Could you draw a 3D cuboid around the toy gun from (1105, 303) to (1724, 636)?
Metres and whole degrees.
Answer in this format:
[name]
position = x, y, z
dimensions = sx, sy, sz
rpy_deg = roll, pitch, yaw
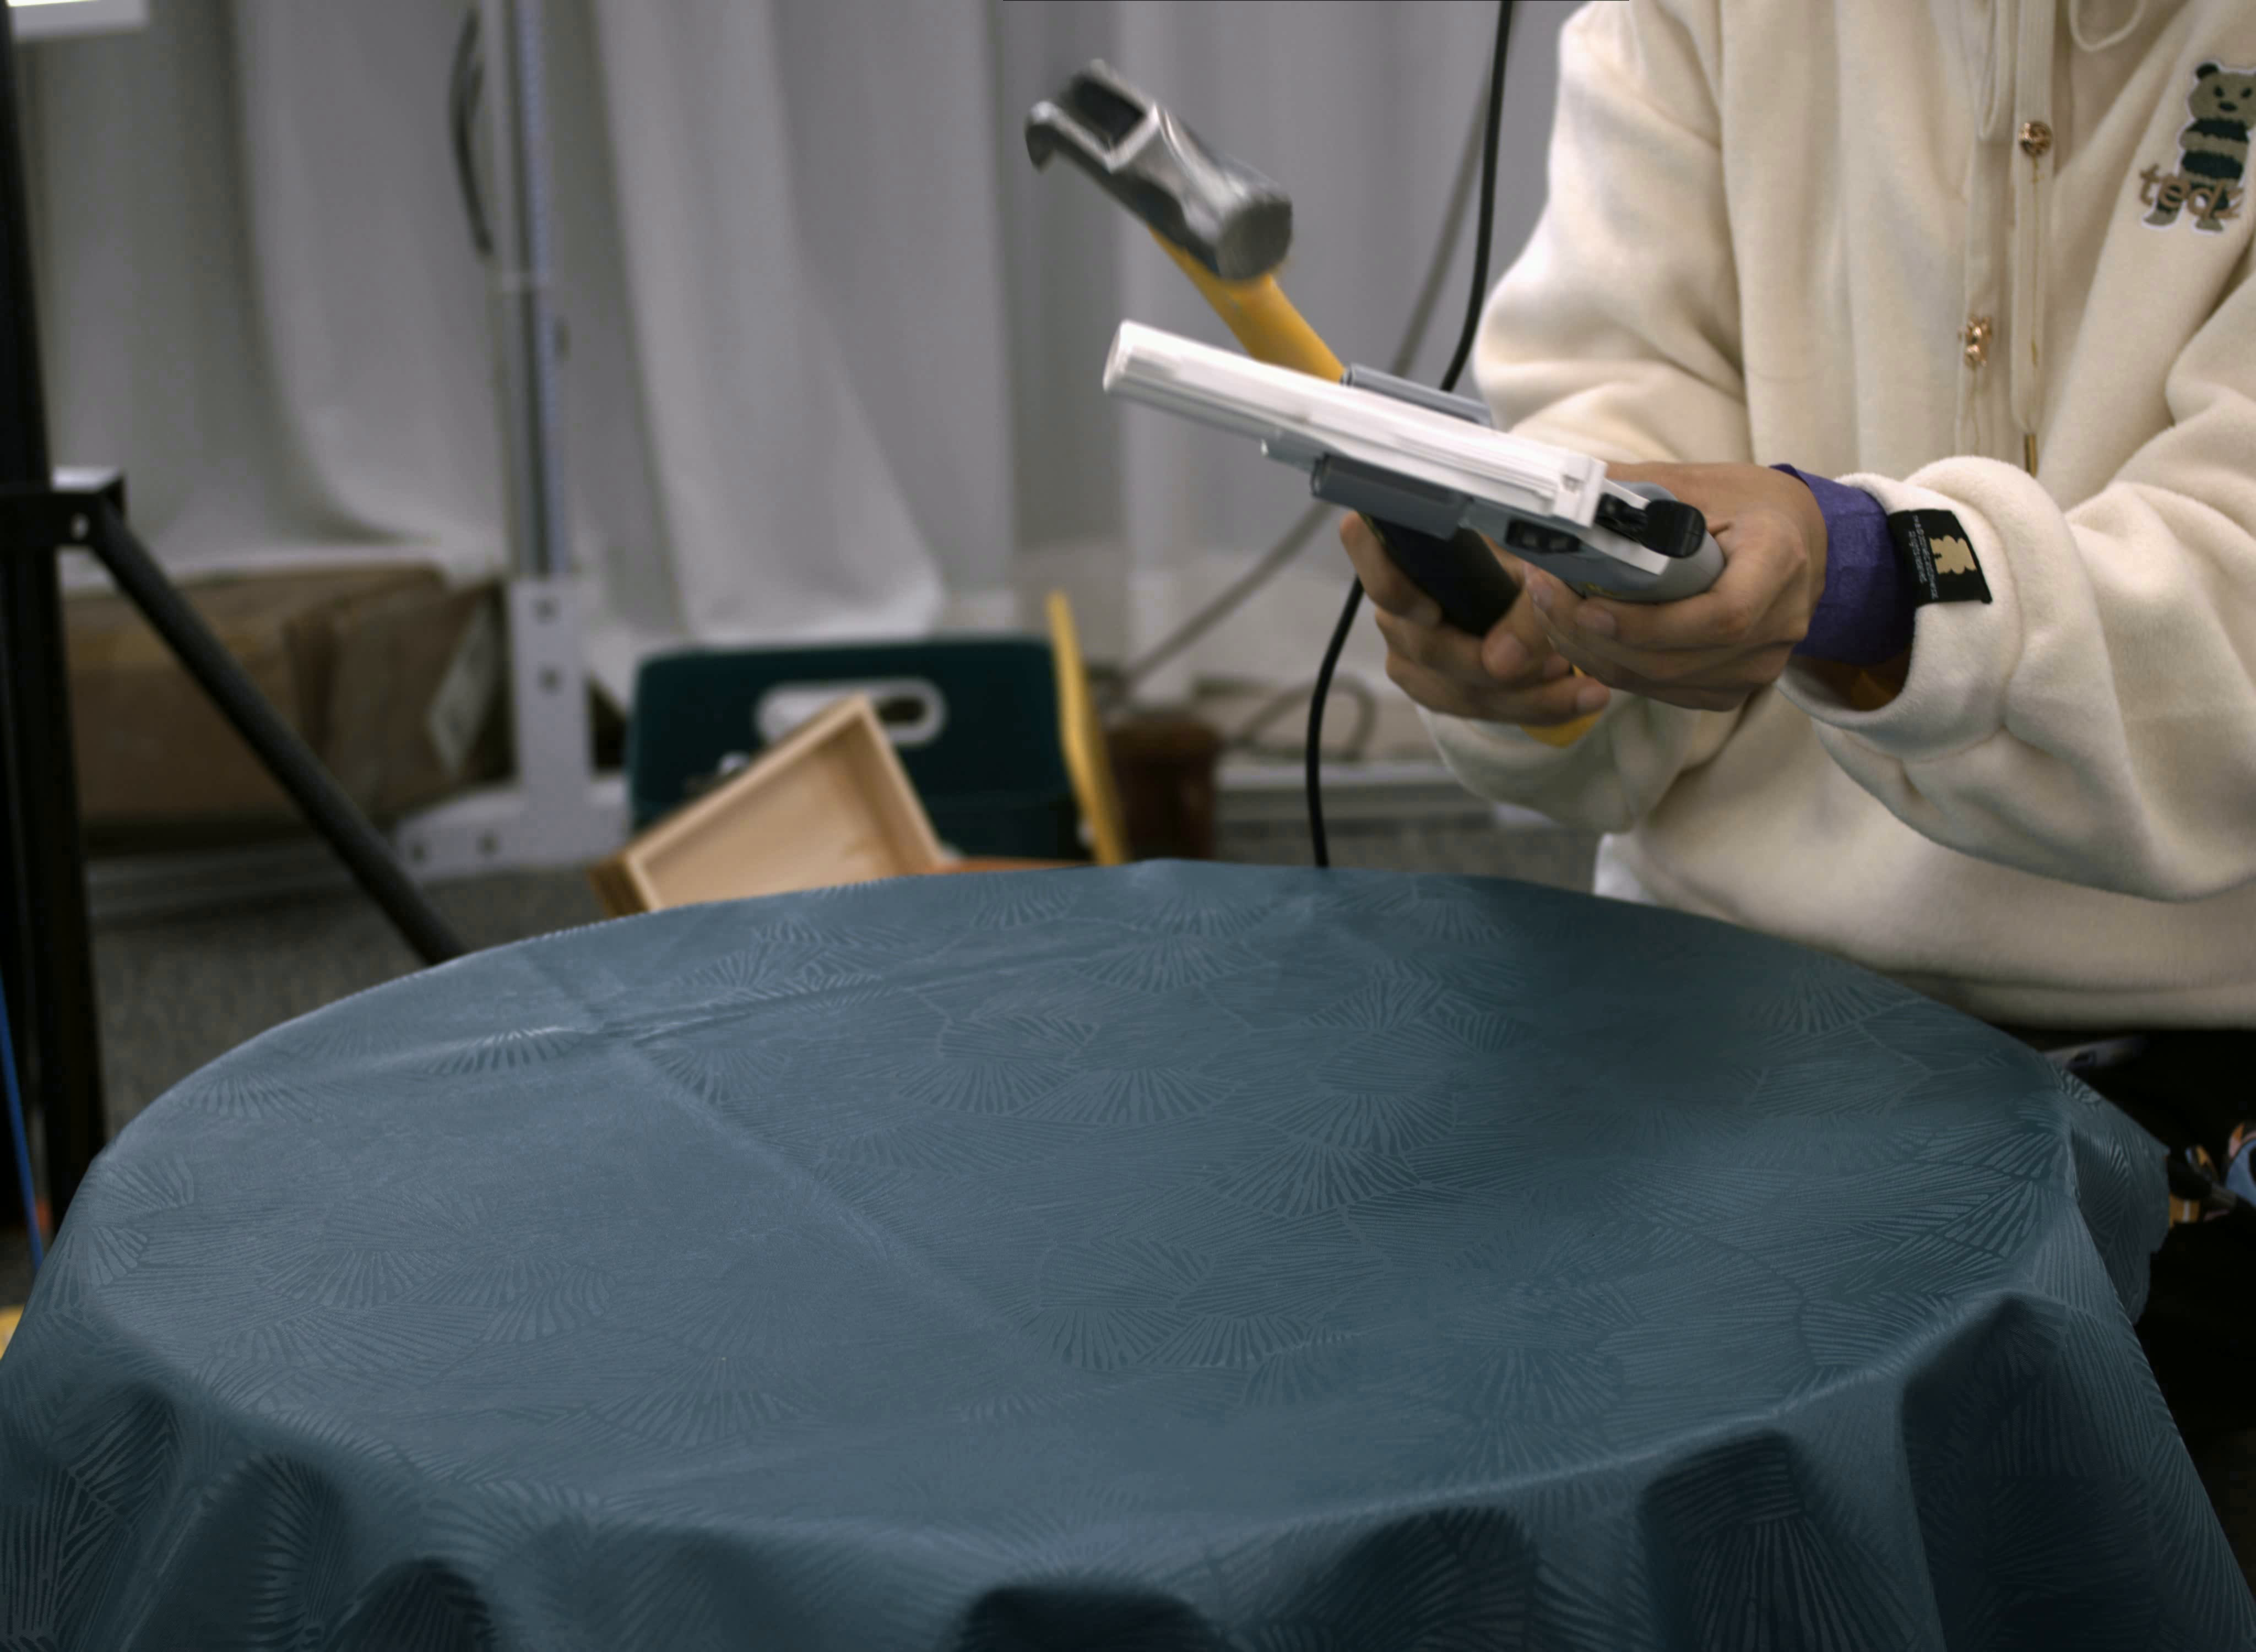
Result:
[toy gun]
position = 0.086, -0.099, 1.483
dimensions = 0.207, 0.039, 0.142
rpy_deg = 19, -3, -8

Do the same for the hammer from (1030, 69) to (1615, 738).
[hammer]
position = 0.072, -0.121, 1.634
dimensions = 0.032, 0.331, 0.134
rpy_deg = -48, 48, -3
